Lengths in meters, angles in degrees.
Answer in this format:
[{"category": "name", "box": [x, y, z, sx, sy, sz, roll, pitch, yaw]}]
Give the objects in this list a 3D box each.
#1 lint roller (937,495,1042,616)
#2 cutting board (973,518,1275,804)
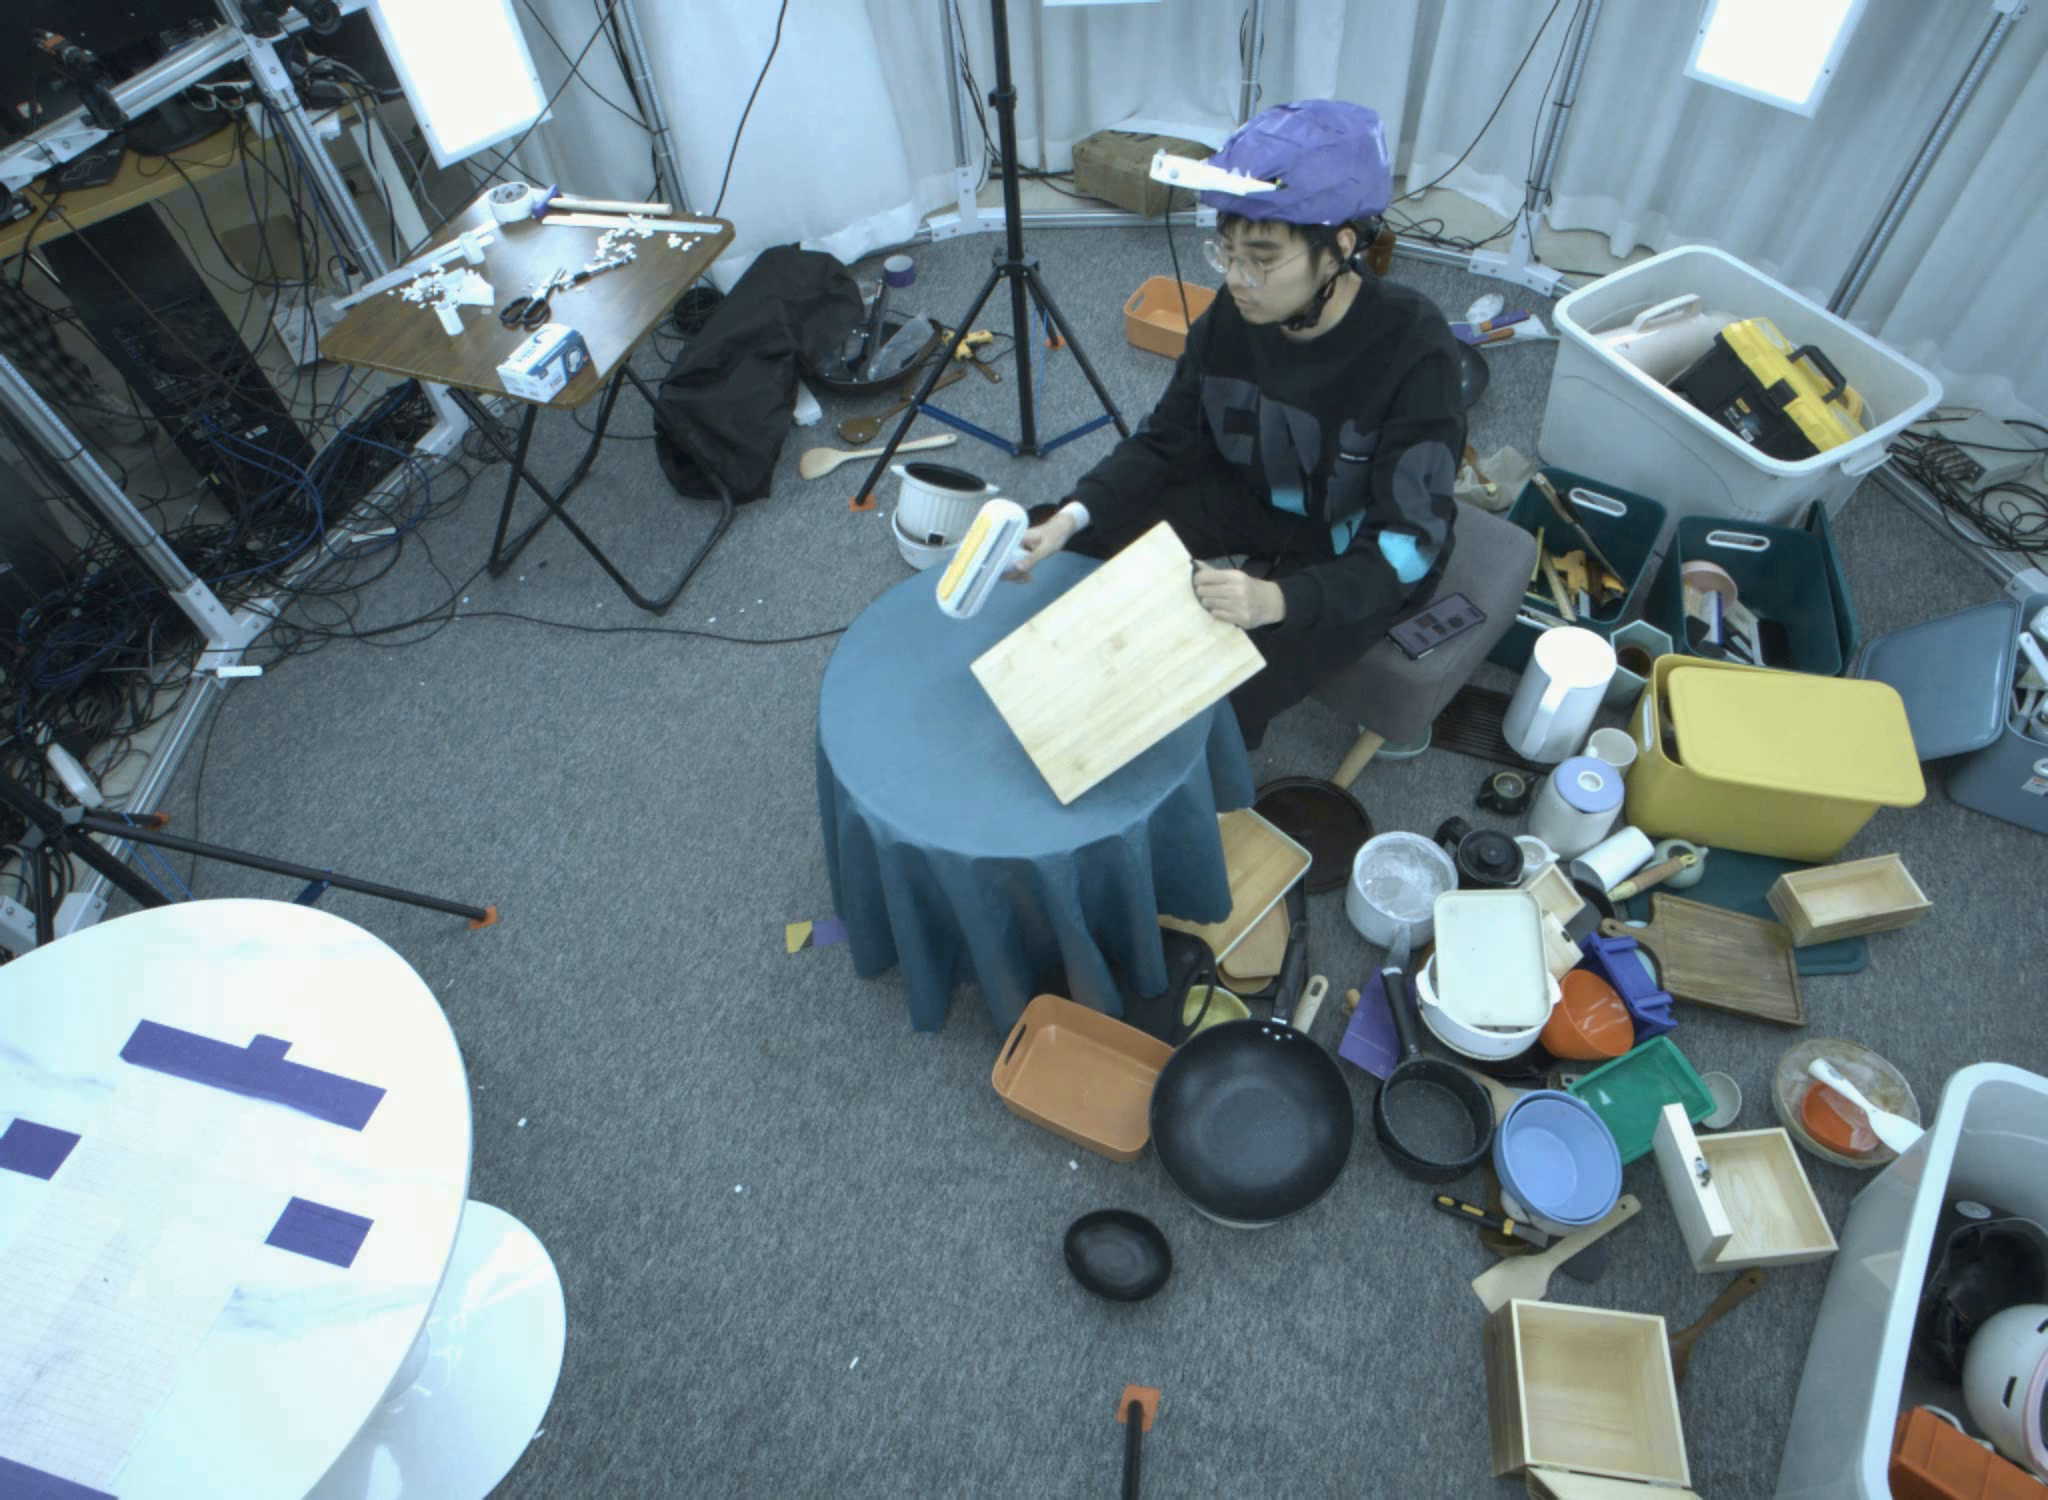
[{"category": "lint roller", "box": [-0.030, -0.283, 1.824, 0.196, 0.192, 0.072, 2, 33, -51]}, {"category": "cutting board", "box": [0.129, -0.119, 1.685, 0.347, 0.024, 0.250, -36, 87, 14]}]
